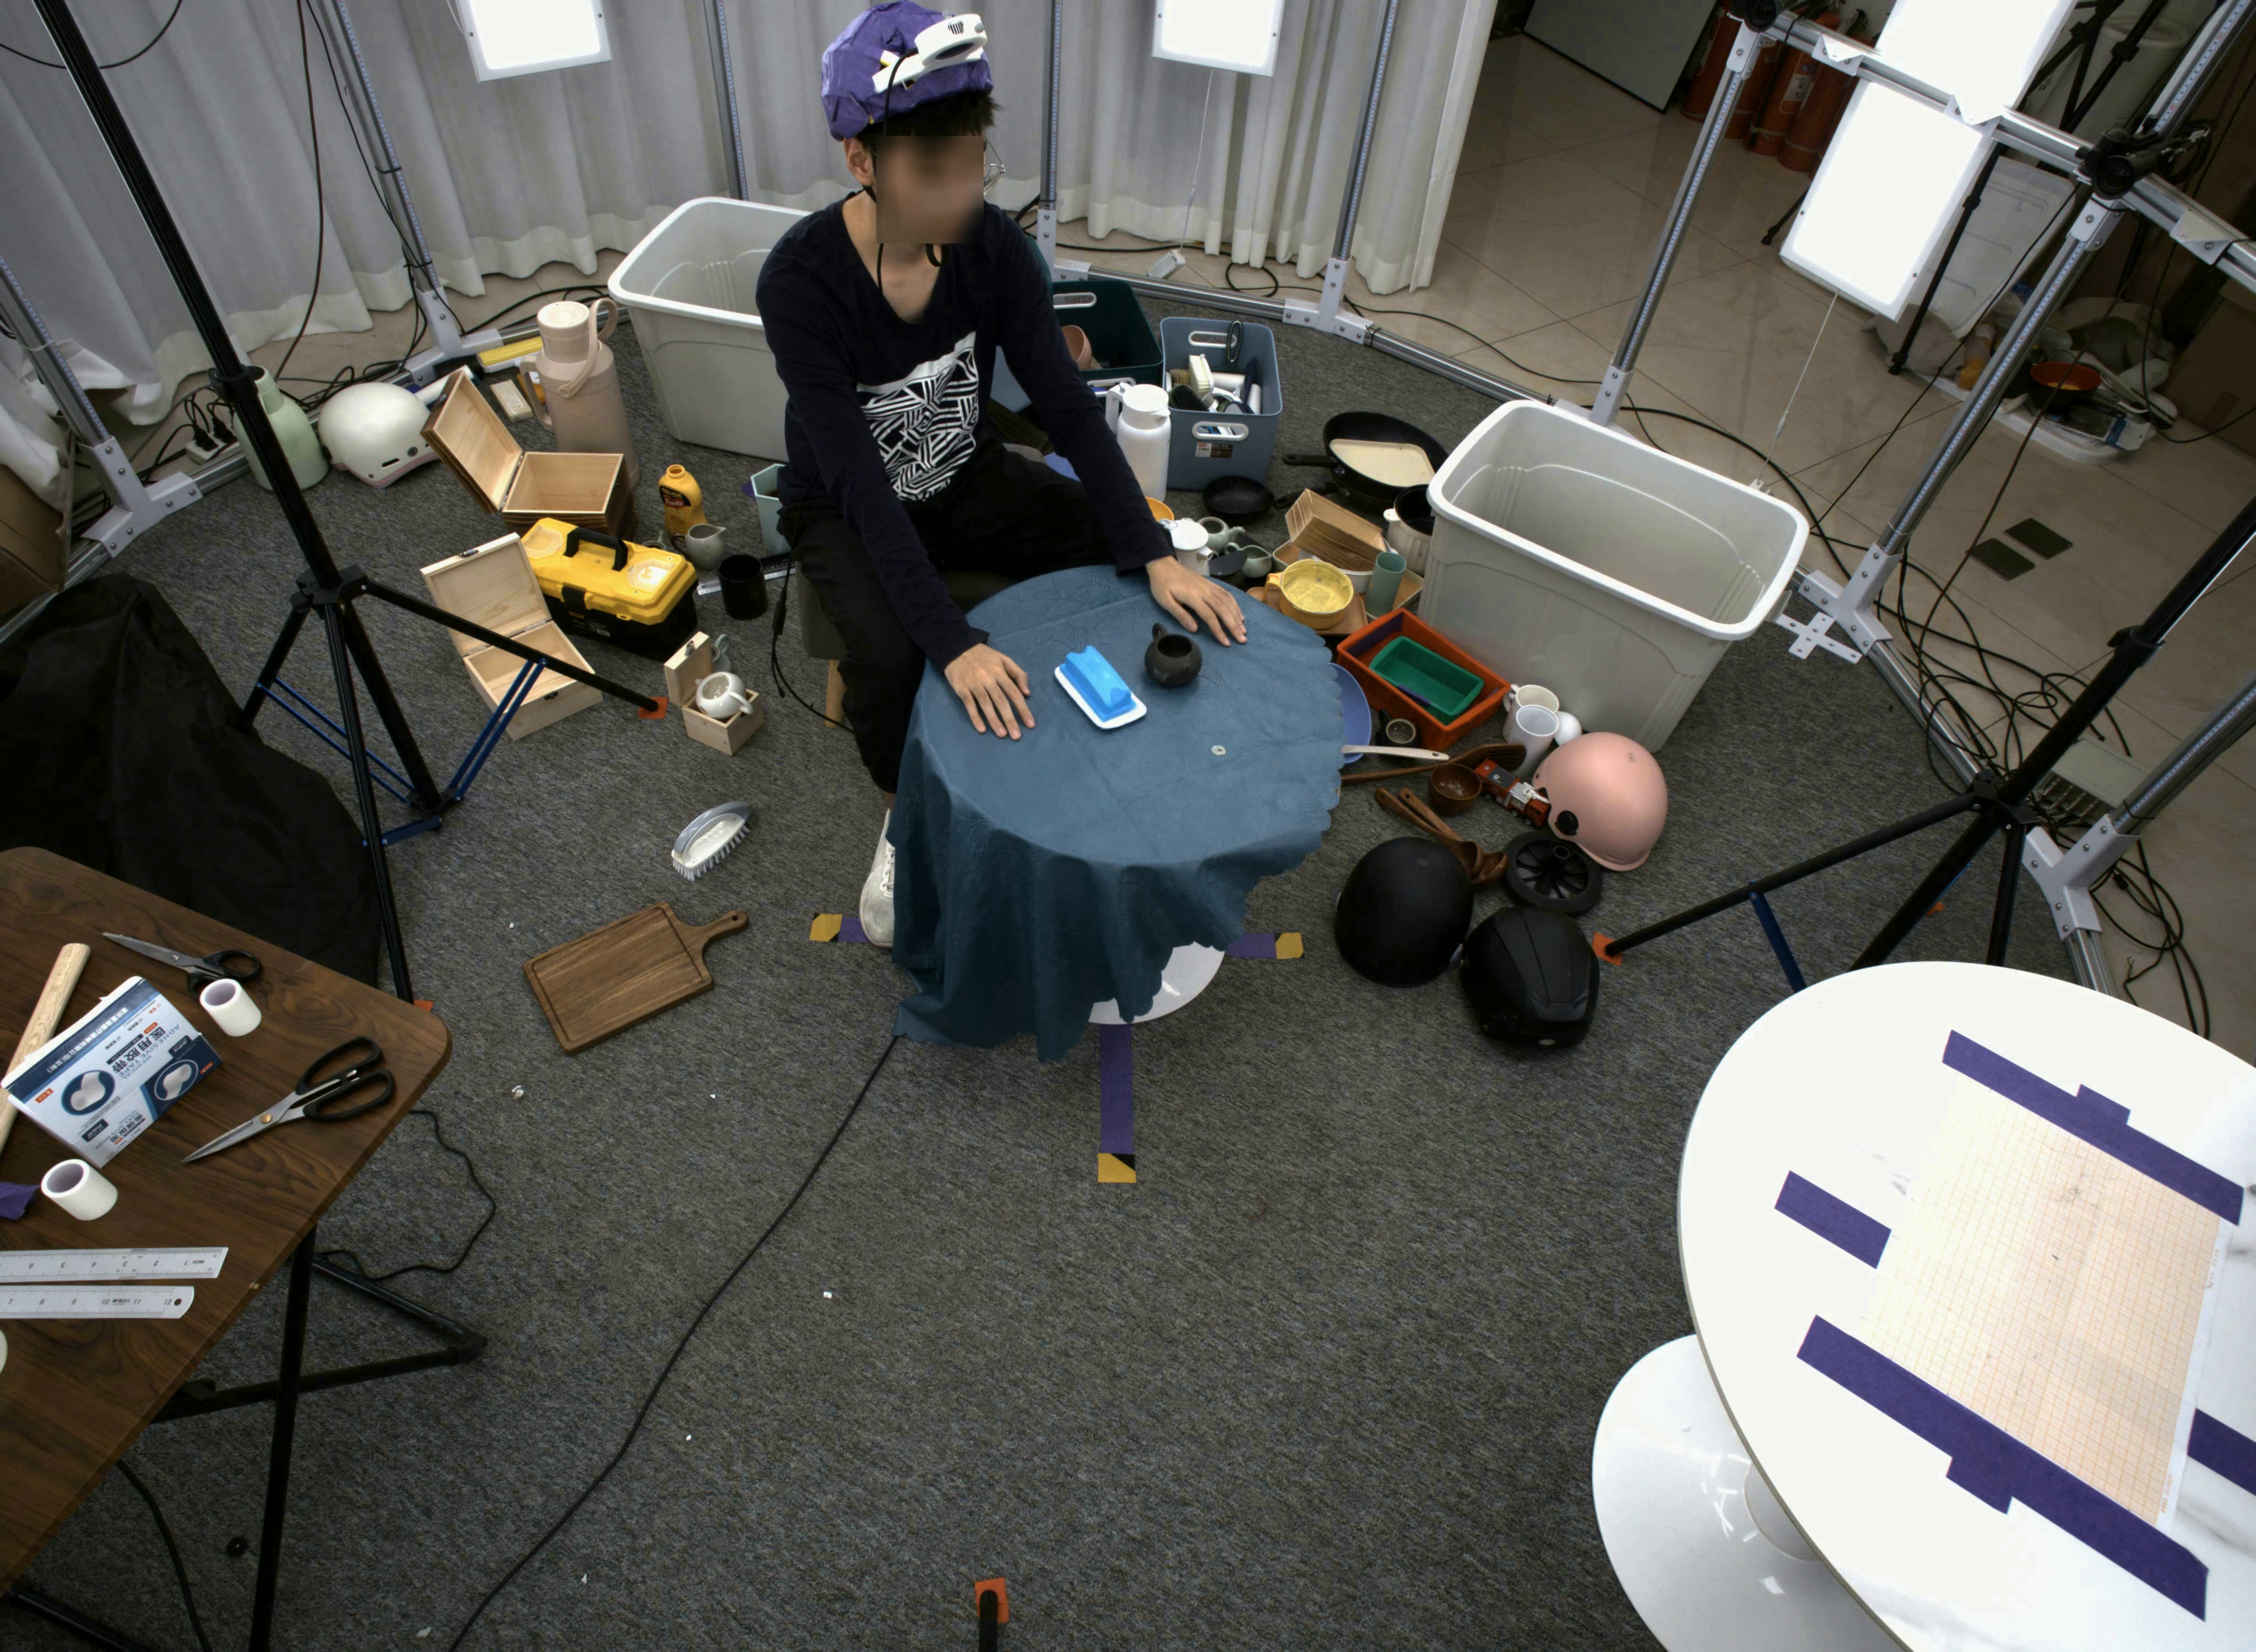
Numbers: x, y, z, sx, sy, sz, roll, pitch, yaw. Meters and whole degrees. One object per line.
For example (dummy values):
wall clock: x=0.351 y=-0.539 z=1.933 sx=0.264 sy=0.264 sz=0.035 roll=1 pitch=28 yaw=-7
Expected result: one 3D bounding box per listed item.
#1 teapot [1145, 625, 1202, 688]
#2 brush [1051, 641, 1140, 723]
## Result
teapot: x=0.062 y=-0.246 z=1.855 sx=0.083 sy=0.052 sz=0.117 roll=-10 pitch=52 yaw=-17
brush: x=-0.044 y=-0.209 z=1.807 sx=0.084 sy=0.054 sz=0.147 roll=-19 pitch=55 yaw=-24
